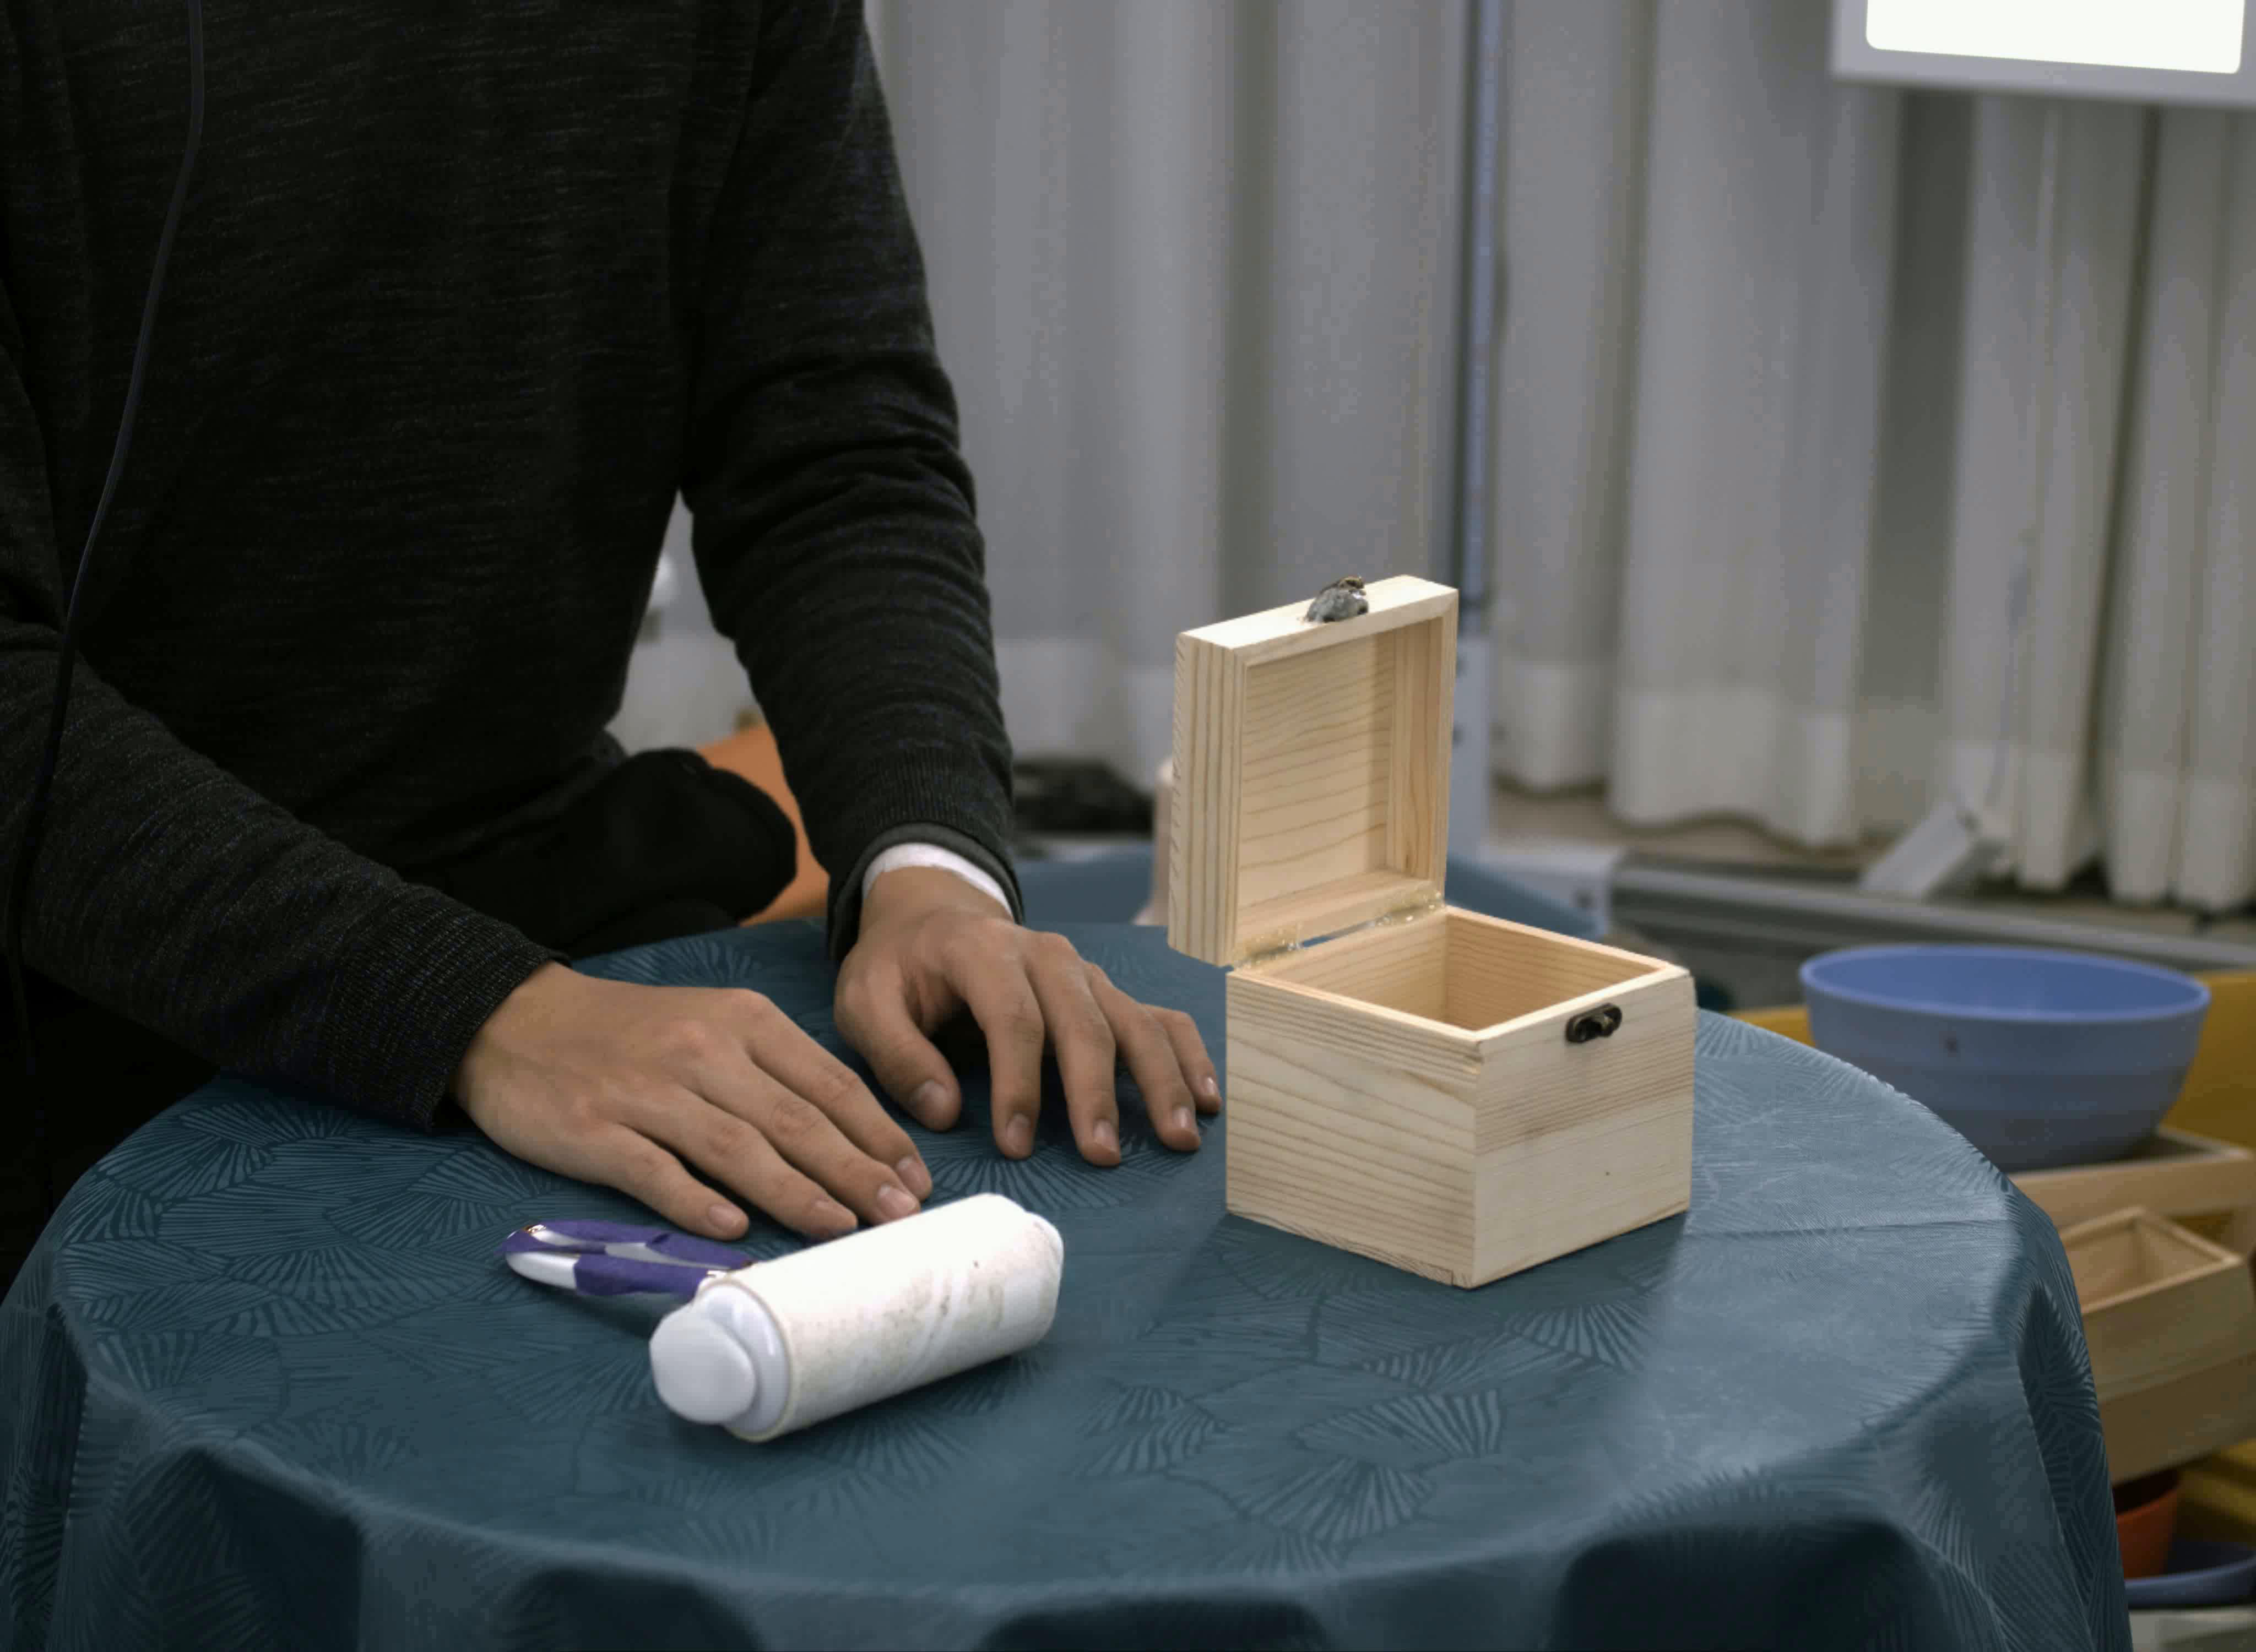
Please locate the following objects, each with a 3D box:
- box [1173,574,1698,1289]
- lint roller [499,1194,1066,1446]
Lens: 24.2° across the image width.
[{"bbox_3d":[0.094,0.028,1.585,0.132,0.186,0.103,14,21,42],"label":"box"},{"bbox_3d":[-0.116,0.121,1.495,0.133,0.050,0.178,-15,24,-42],"label":"lint roller"}]
